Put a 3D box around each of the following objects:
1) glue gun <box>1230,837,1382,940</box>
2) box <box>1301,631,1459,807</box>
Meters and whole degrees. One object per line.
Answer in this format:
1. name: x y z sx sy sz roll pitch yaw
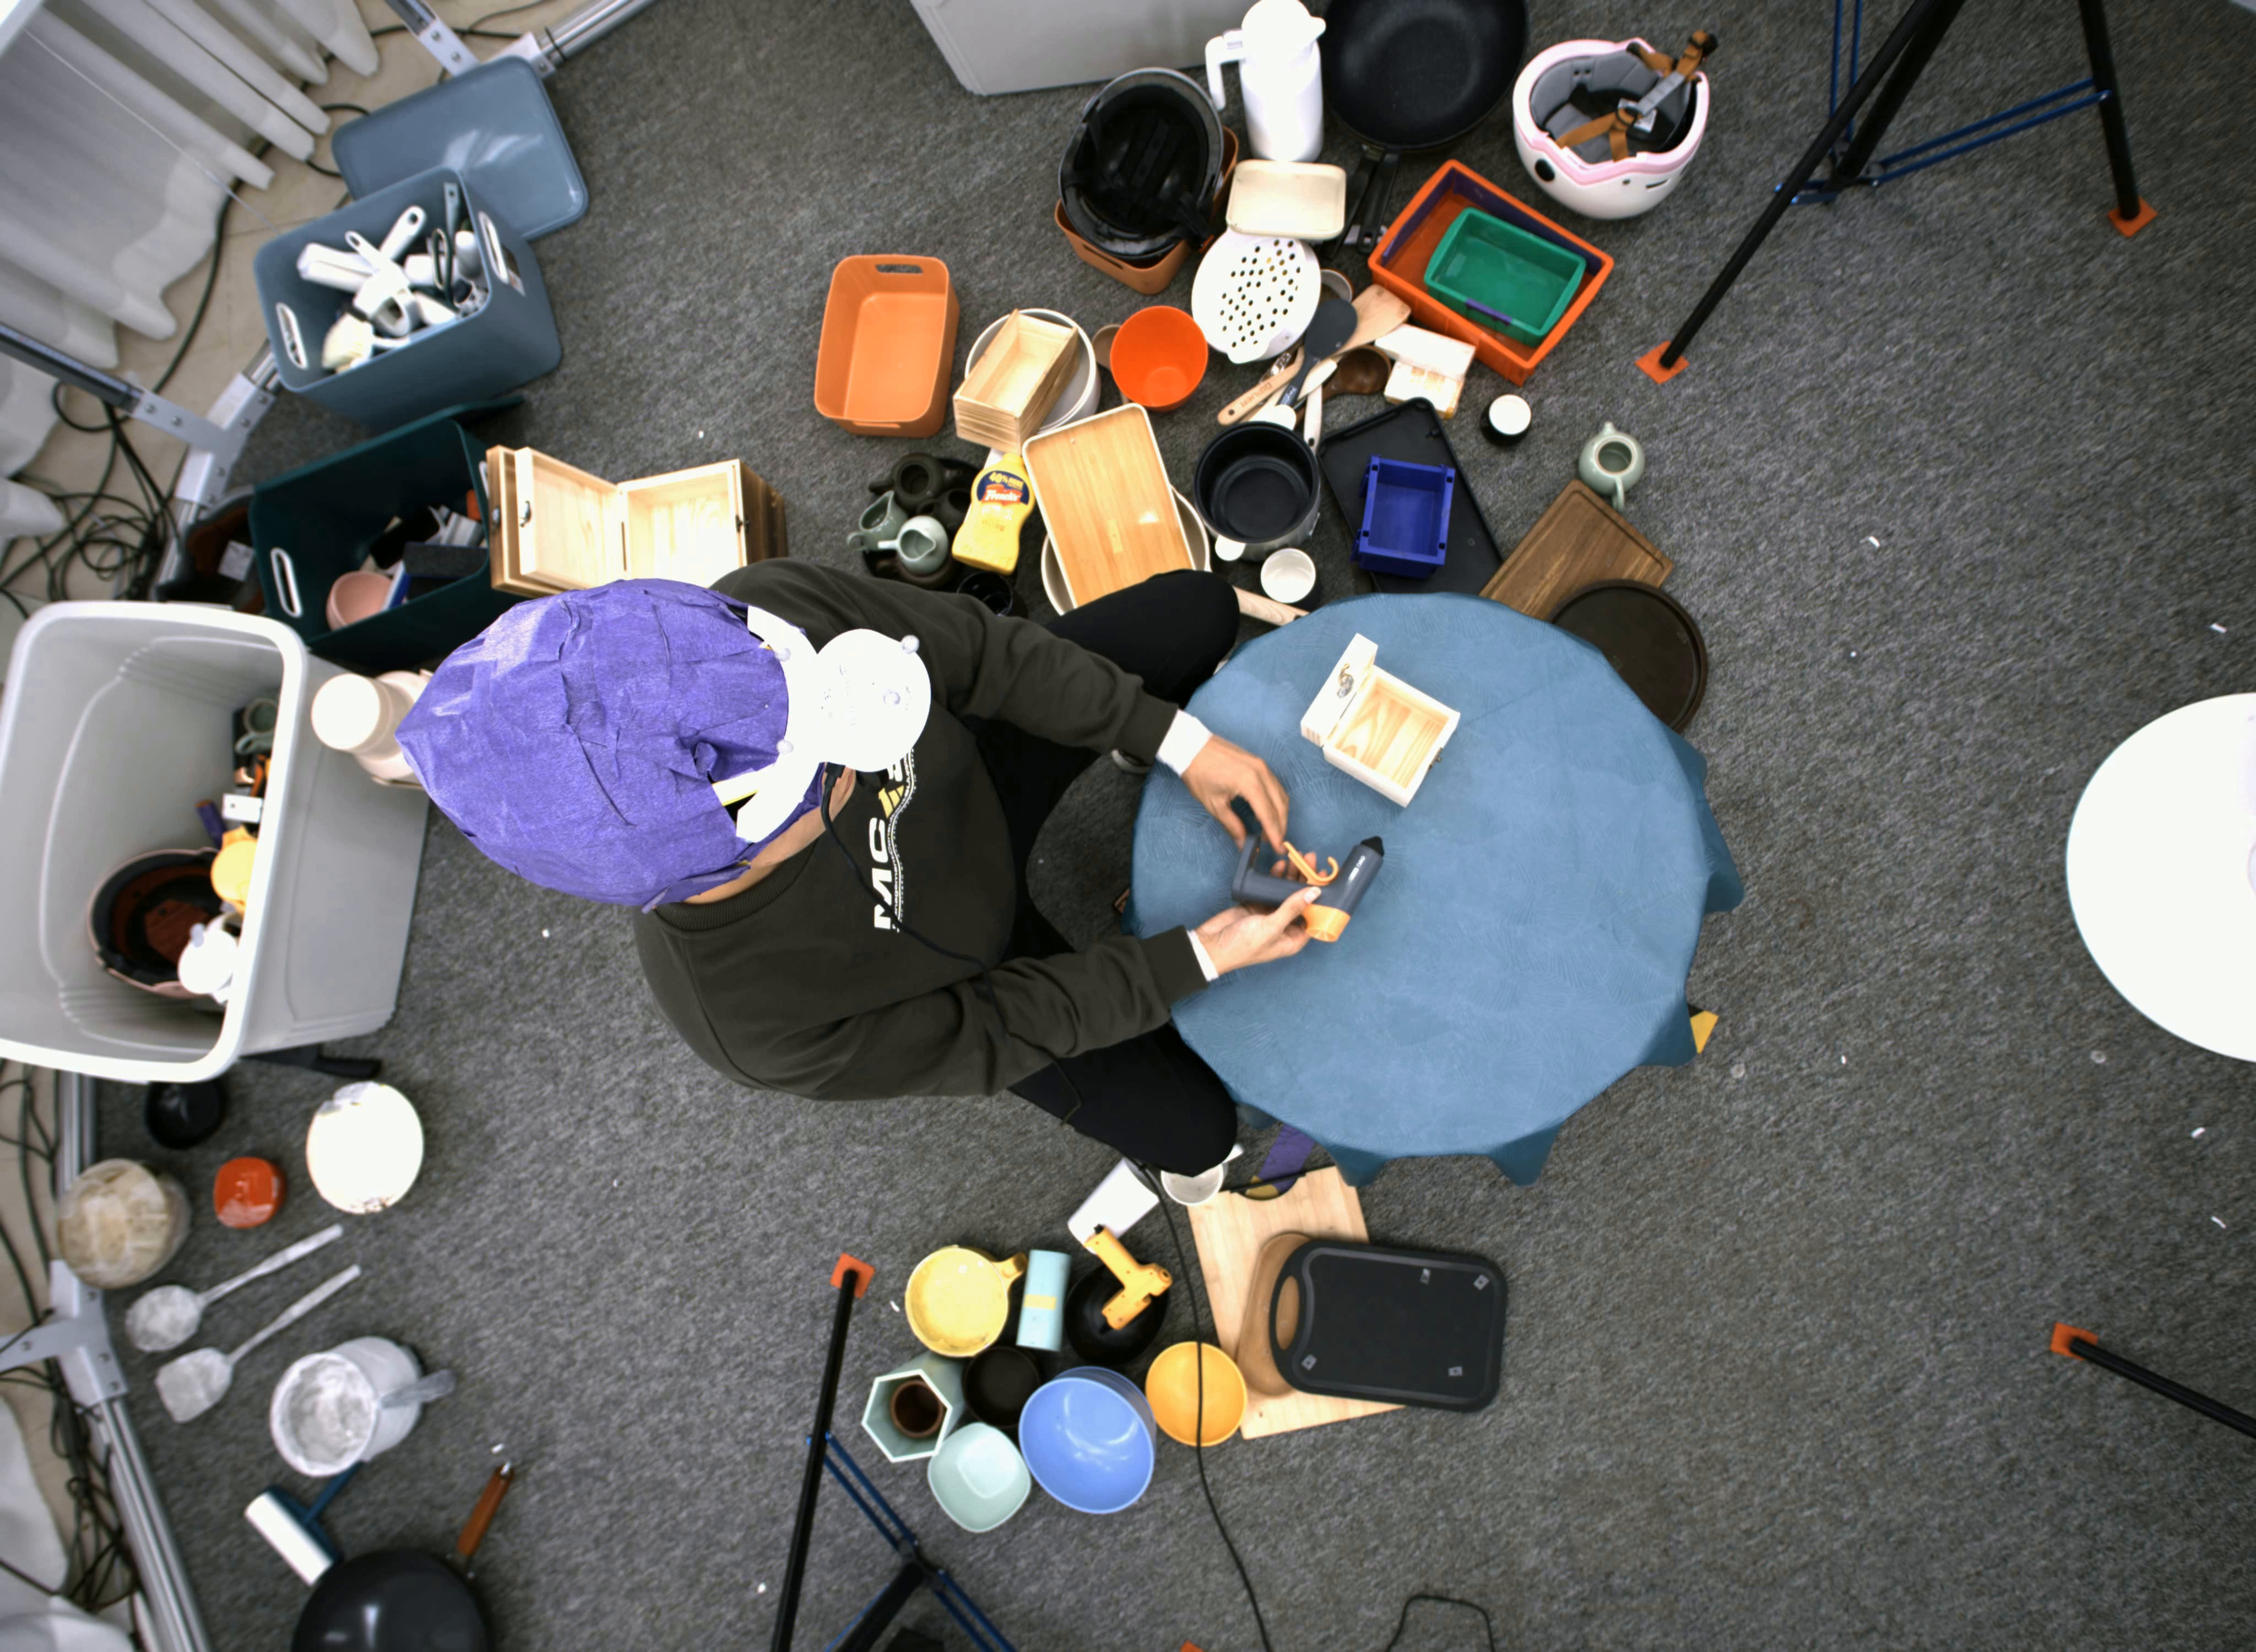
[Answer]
1. glue gun: 0.183 0.051 1.414 0.140 0.042 0.115 10 65 17
2. box: 0.256 -0.103 1.378 0.133 0.185 0.102 30 89 10
